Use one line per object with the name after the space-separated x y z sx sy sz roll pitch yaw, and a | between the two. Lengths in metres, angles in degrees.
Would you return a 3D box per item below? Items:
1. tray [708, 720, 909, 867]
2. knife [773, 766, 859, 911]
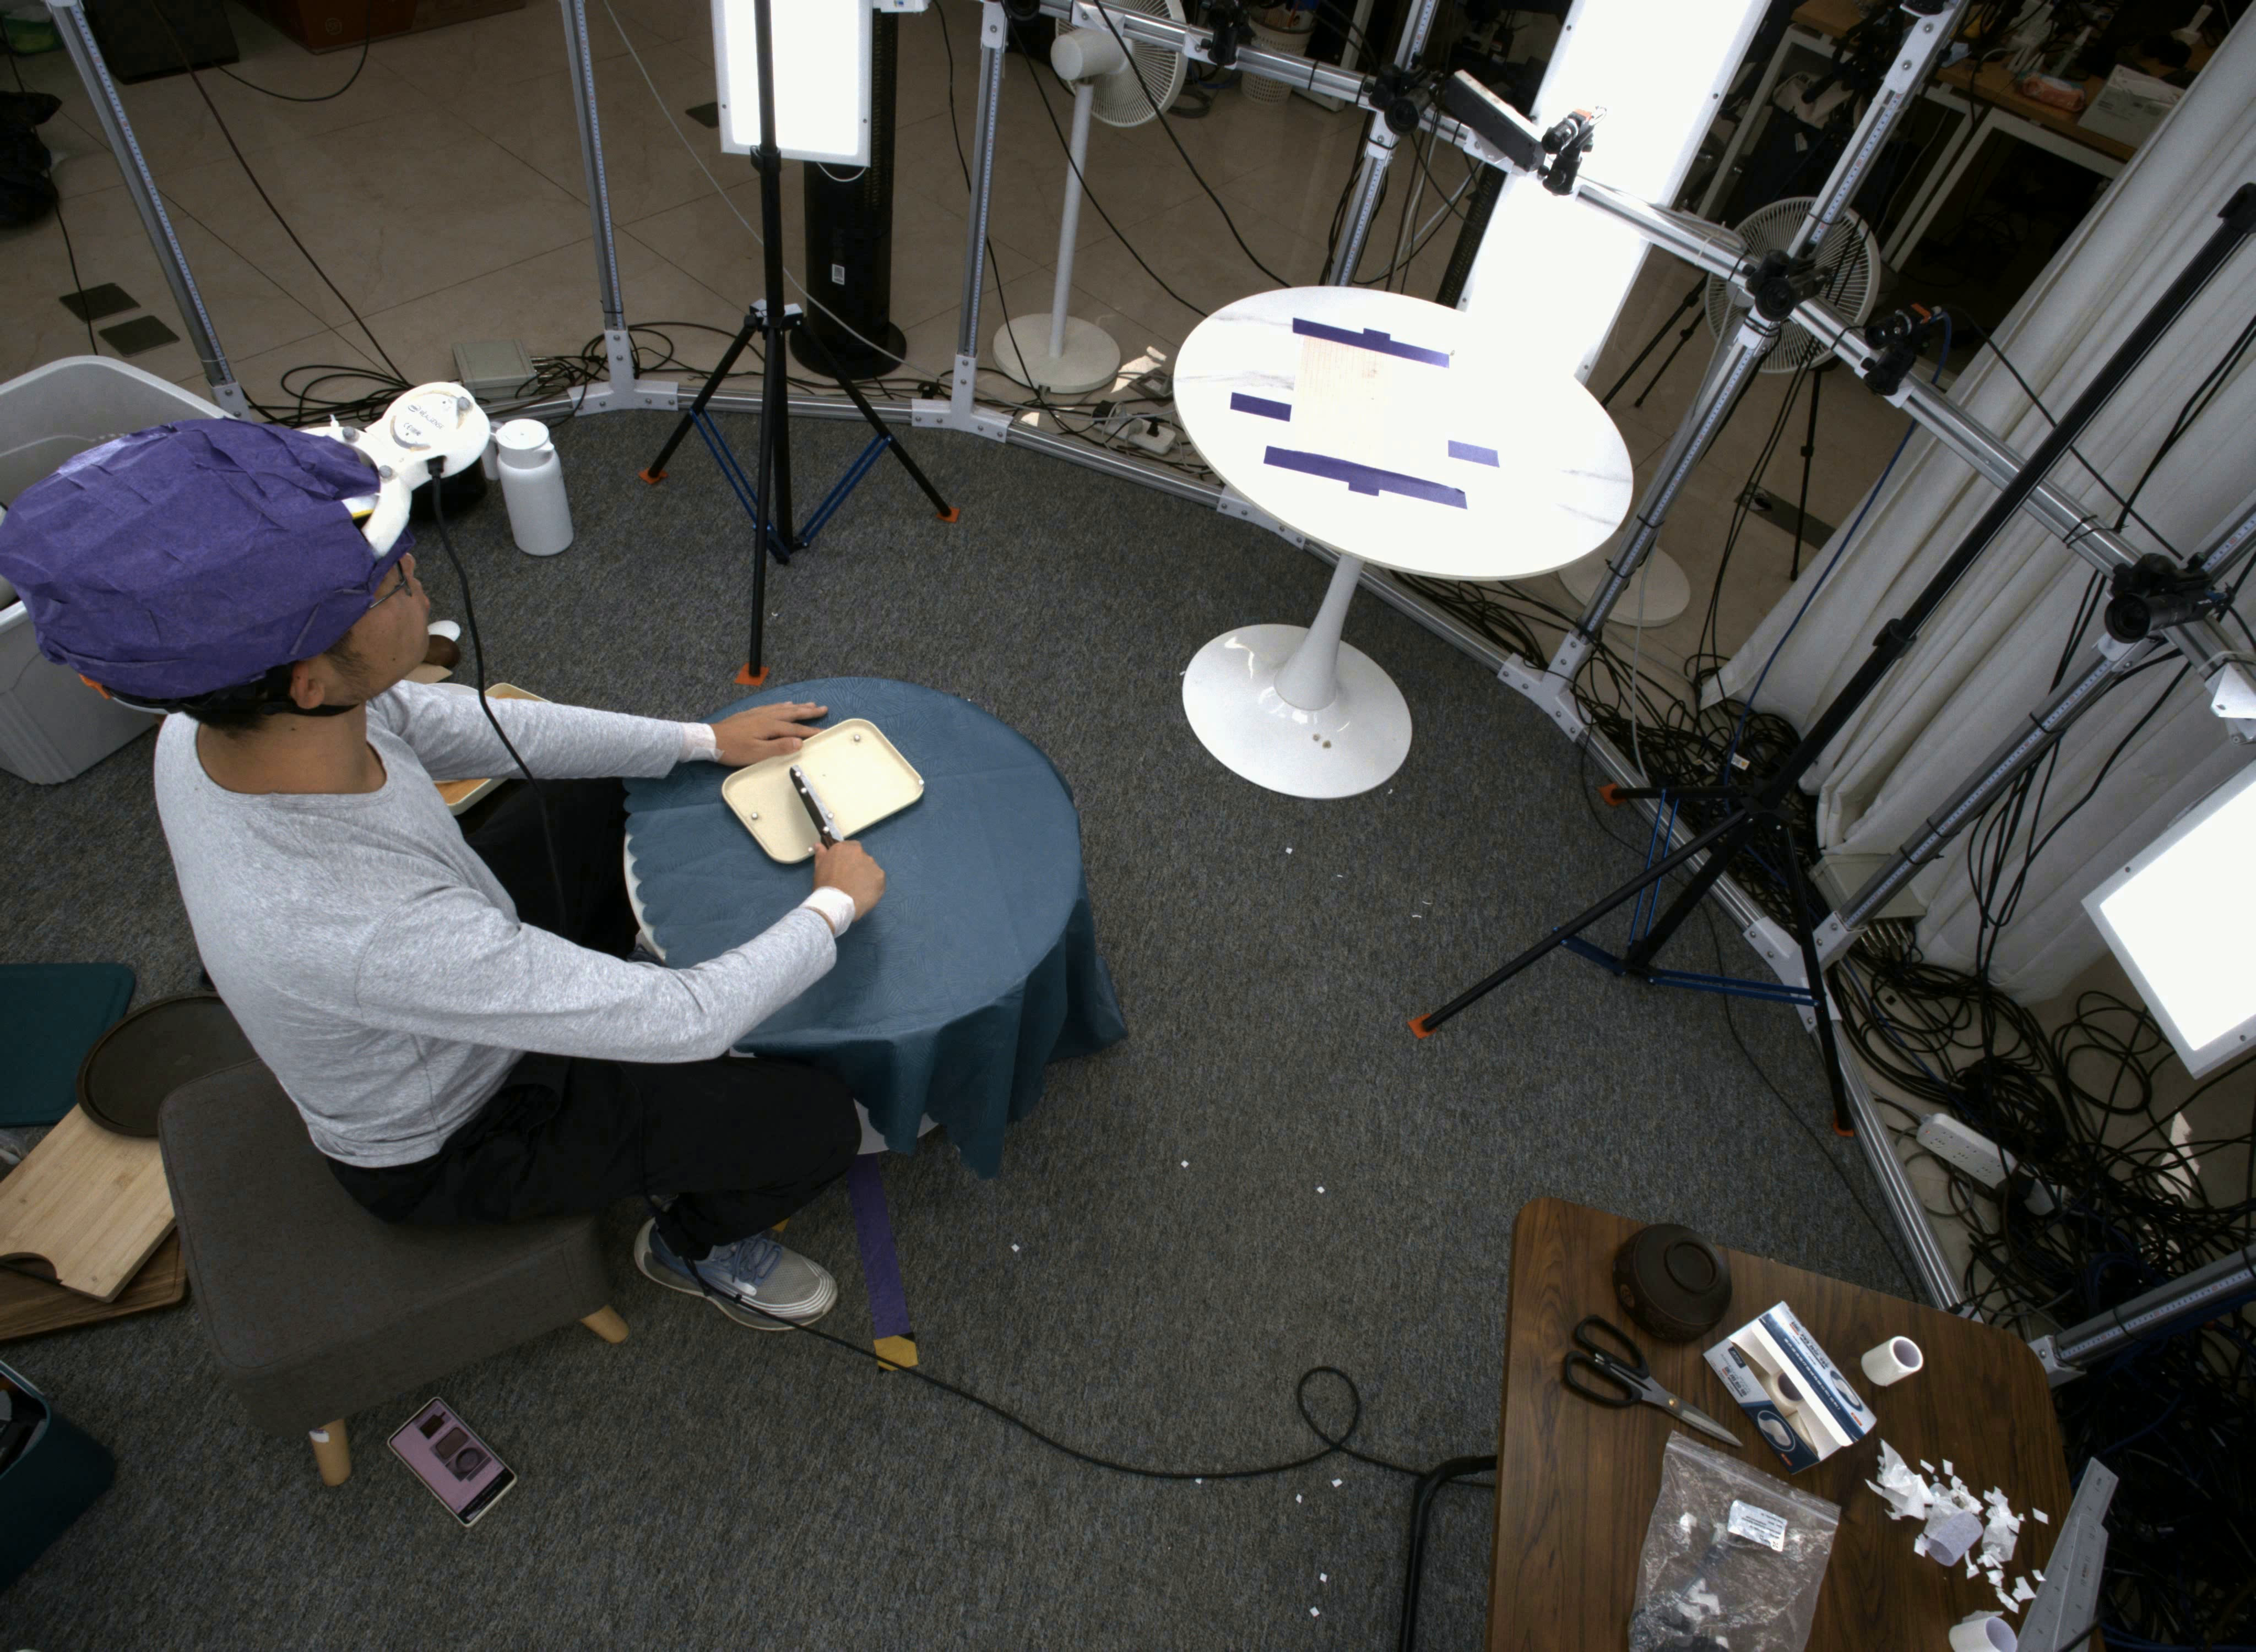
-0.431 -0.047 1.757 0.240 0.018 0.167 -31 67 -31 | tray
-0.404 0.008 1.664 0.052 0.020 0.279 30 19 -51 | knife
